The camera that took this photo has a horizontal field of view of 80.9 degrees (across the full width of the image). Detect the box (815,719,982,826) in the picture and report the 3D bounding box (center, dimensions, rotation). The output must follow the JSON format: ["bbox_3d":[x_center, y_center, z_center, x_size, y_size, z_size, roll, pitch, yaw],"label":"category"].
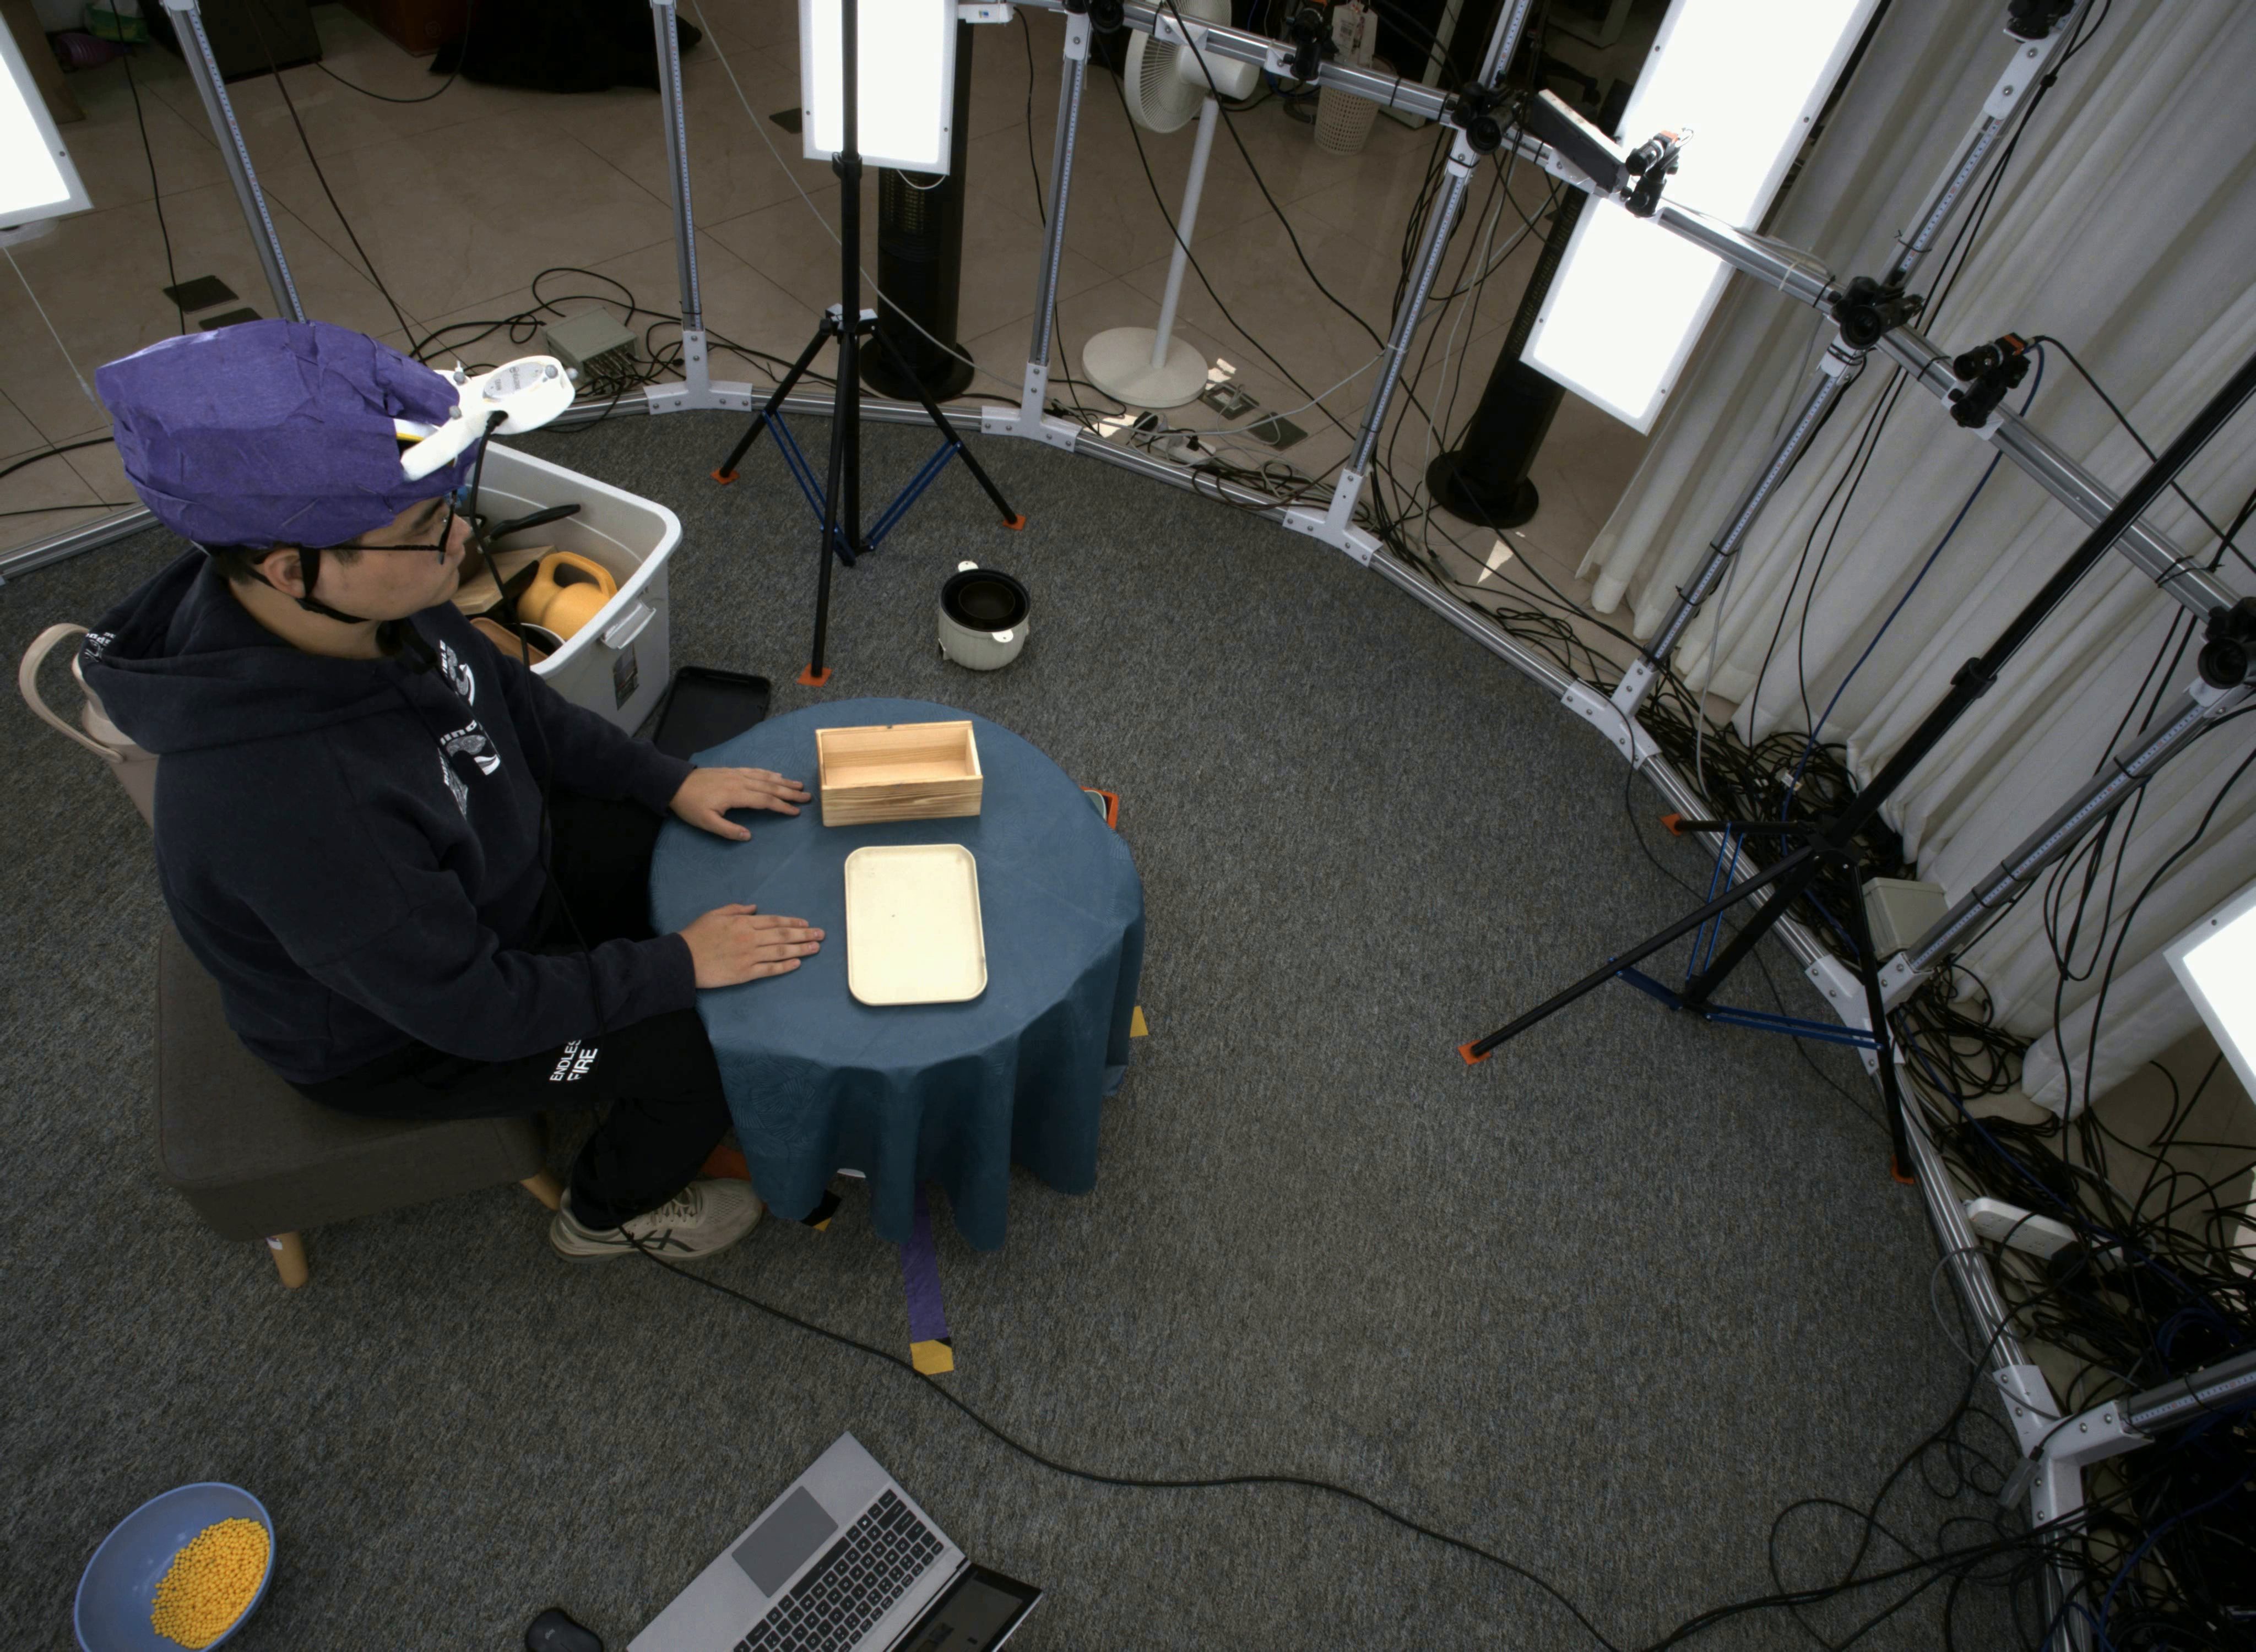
[{"bbox_3d":[-0.310,-0.074,1.752,0.212,0.082,0.105,-5,54,-17],"label":"box"}]

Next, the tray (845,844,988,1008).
[{"bbox_3d":[-0.271,0.123,1.655,0.171,0.018,0.234,-1,54,-14],"label":"tray"}]
